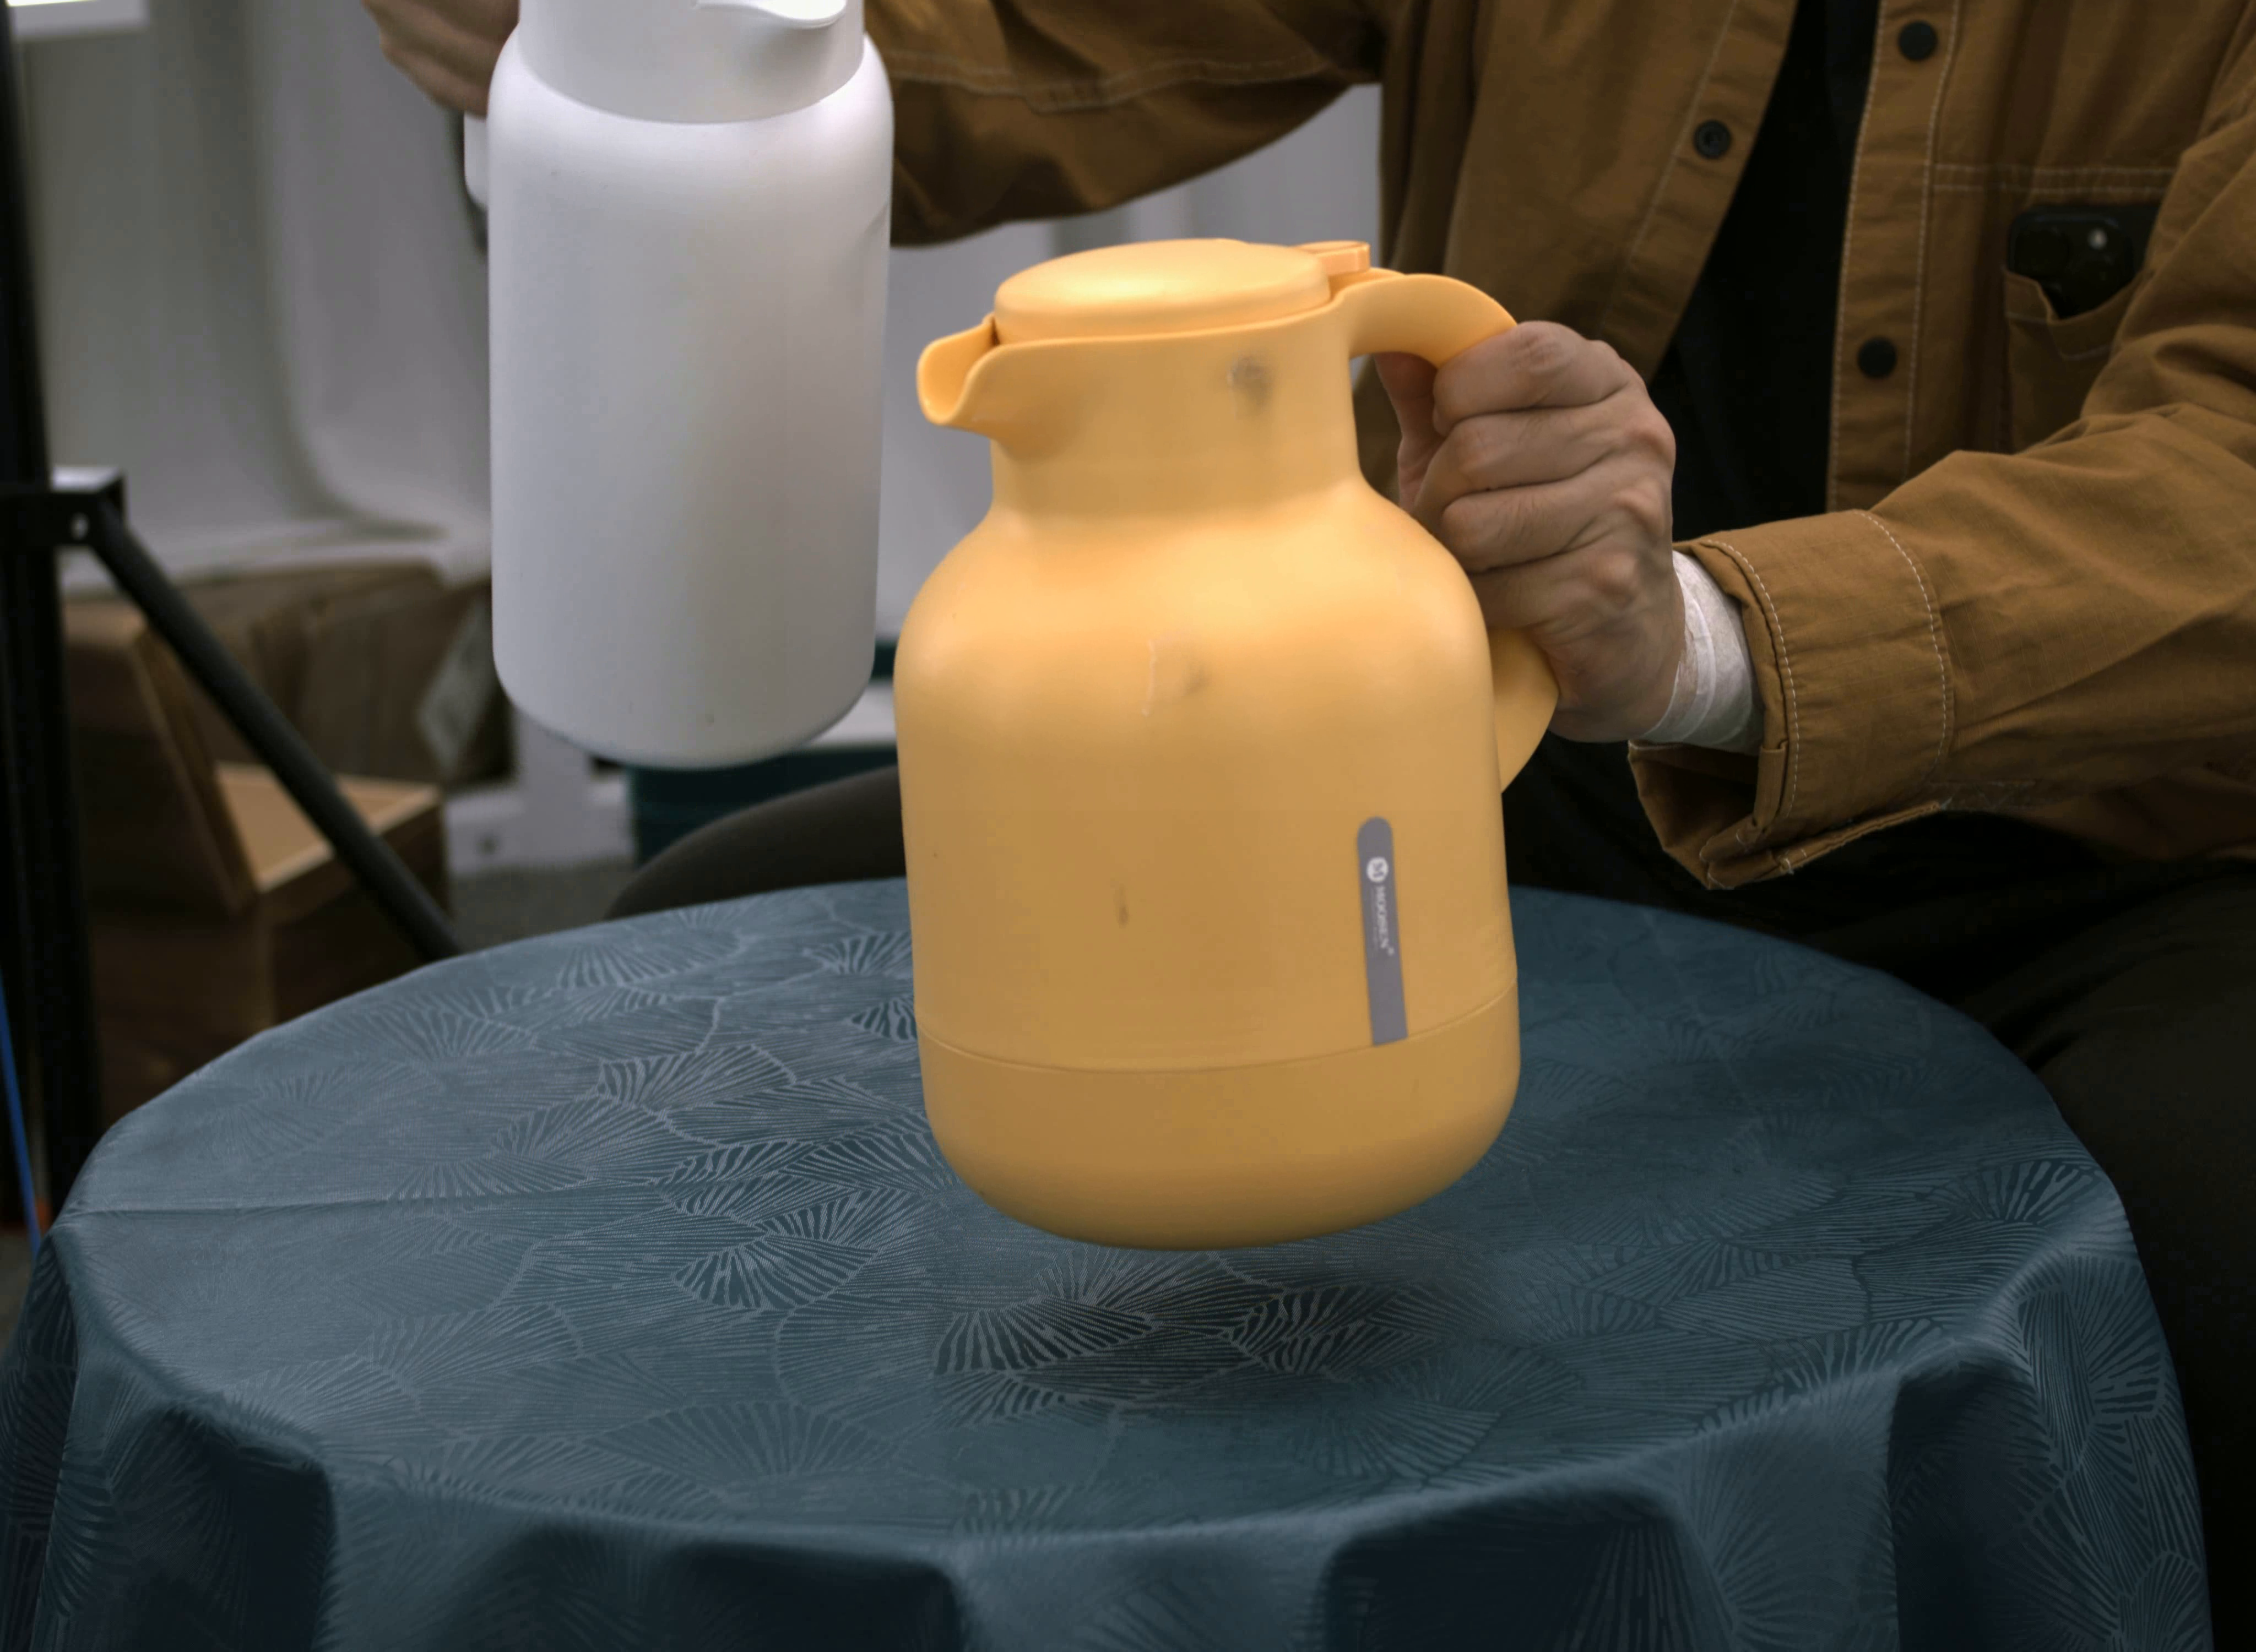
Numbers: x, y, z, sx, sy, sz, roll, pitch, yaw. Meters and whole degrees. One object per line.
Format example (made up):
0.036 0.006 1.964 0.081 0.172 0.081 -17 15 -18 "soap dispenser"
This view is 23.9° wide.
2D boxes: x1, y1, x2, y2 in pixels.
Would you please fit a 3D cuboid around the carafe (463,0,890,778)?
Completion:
-0.142 -0.161 1.585 0.121 0.268 0.177 -22 40 -30 "carafe"

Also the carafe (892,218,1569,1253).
0.035 -0.031 1.421 0.198 0.260 0.167 -14 19 -29 "carafe"
